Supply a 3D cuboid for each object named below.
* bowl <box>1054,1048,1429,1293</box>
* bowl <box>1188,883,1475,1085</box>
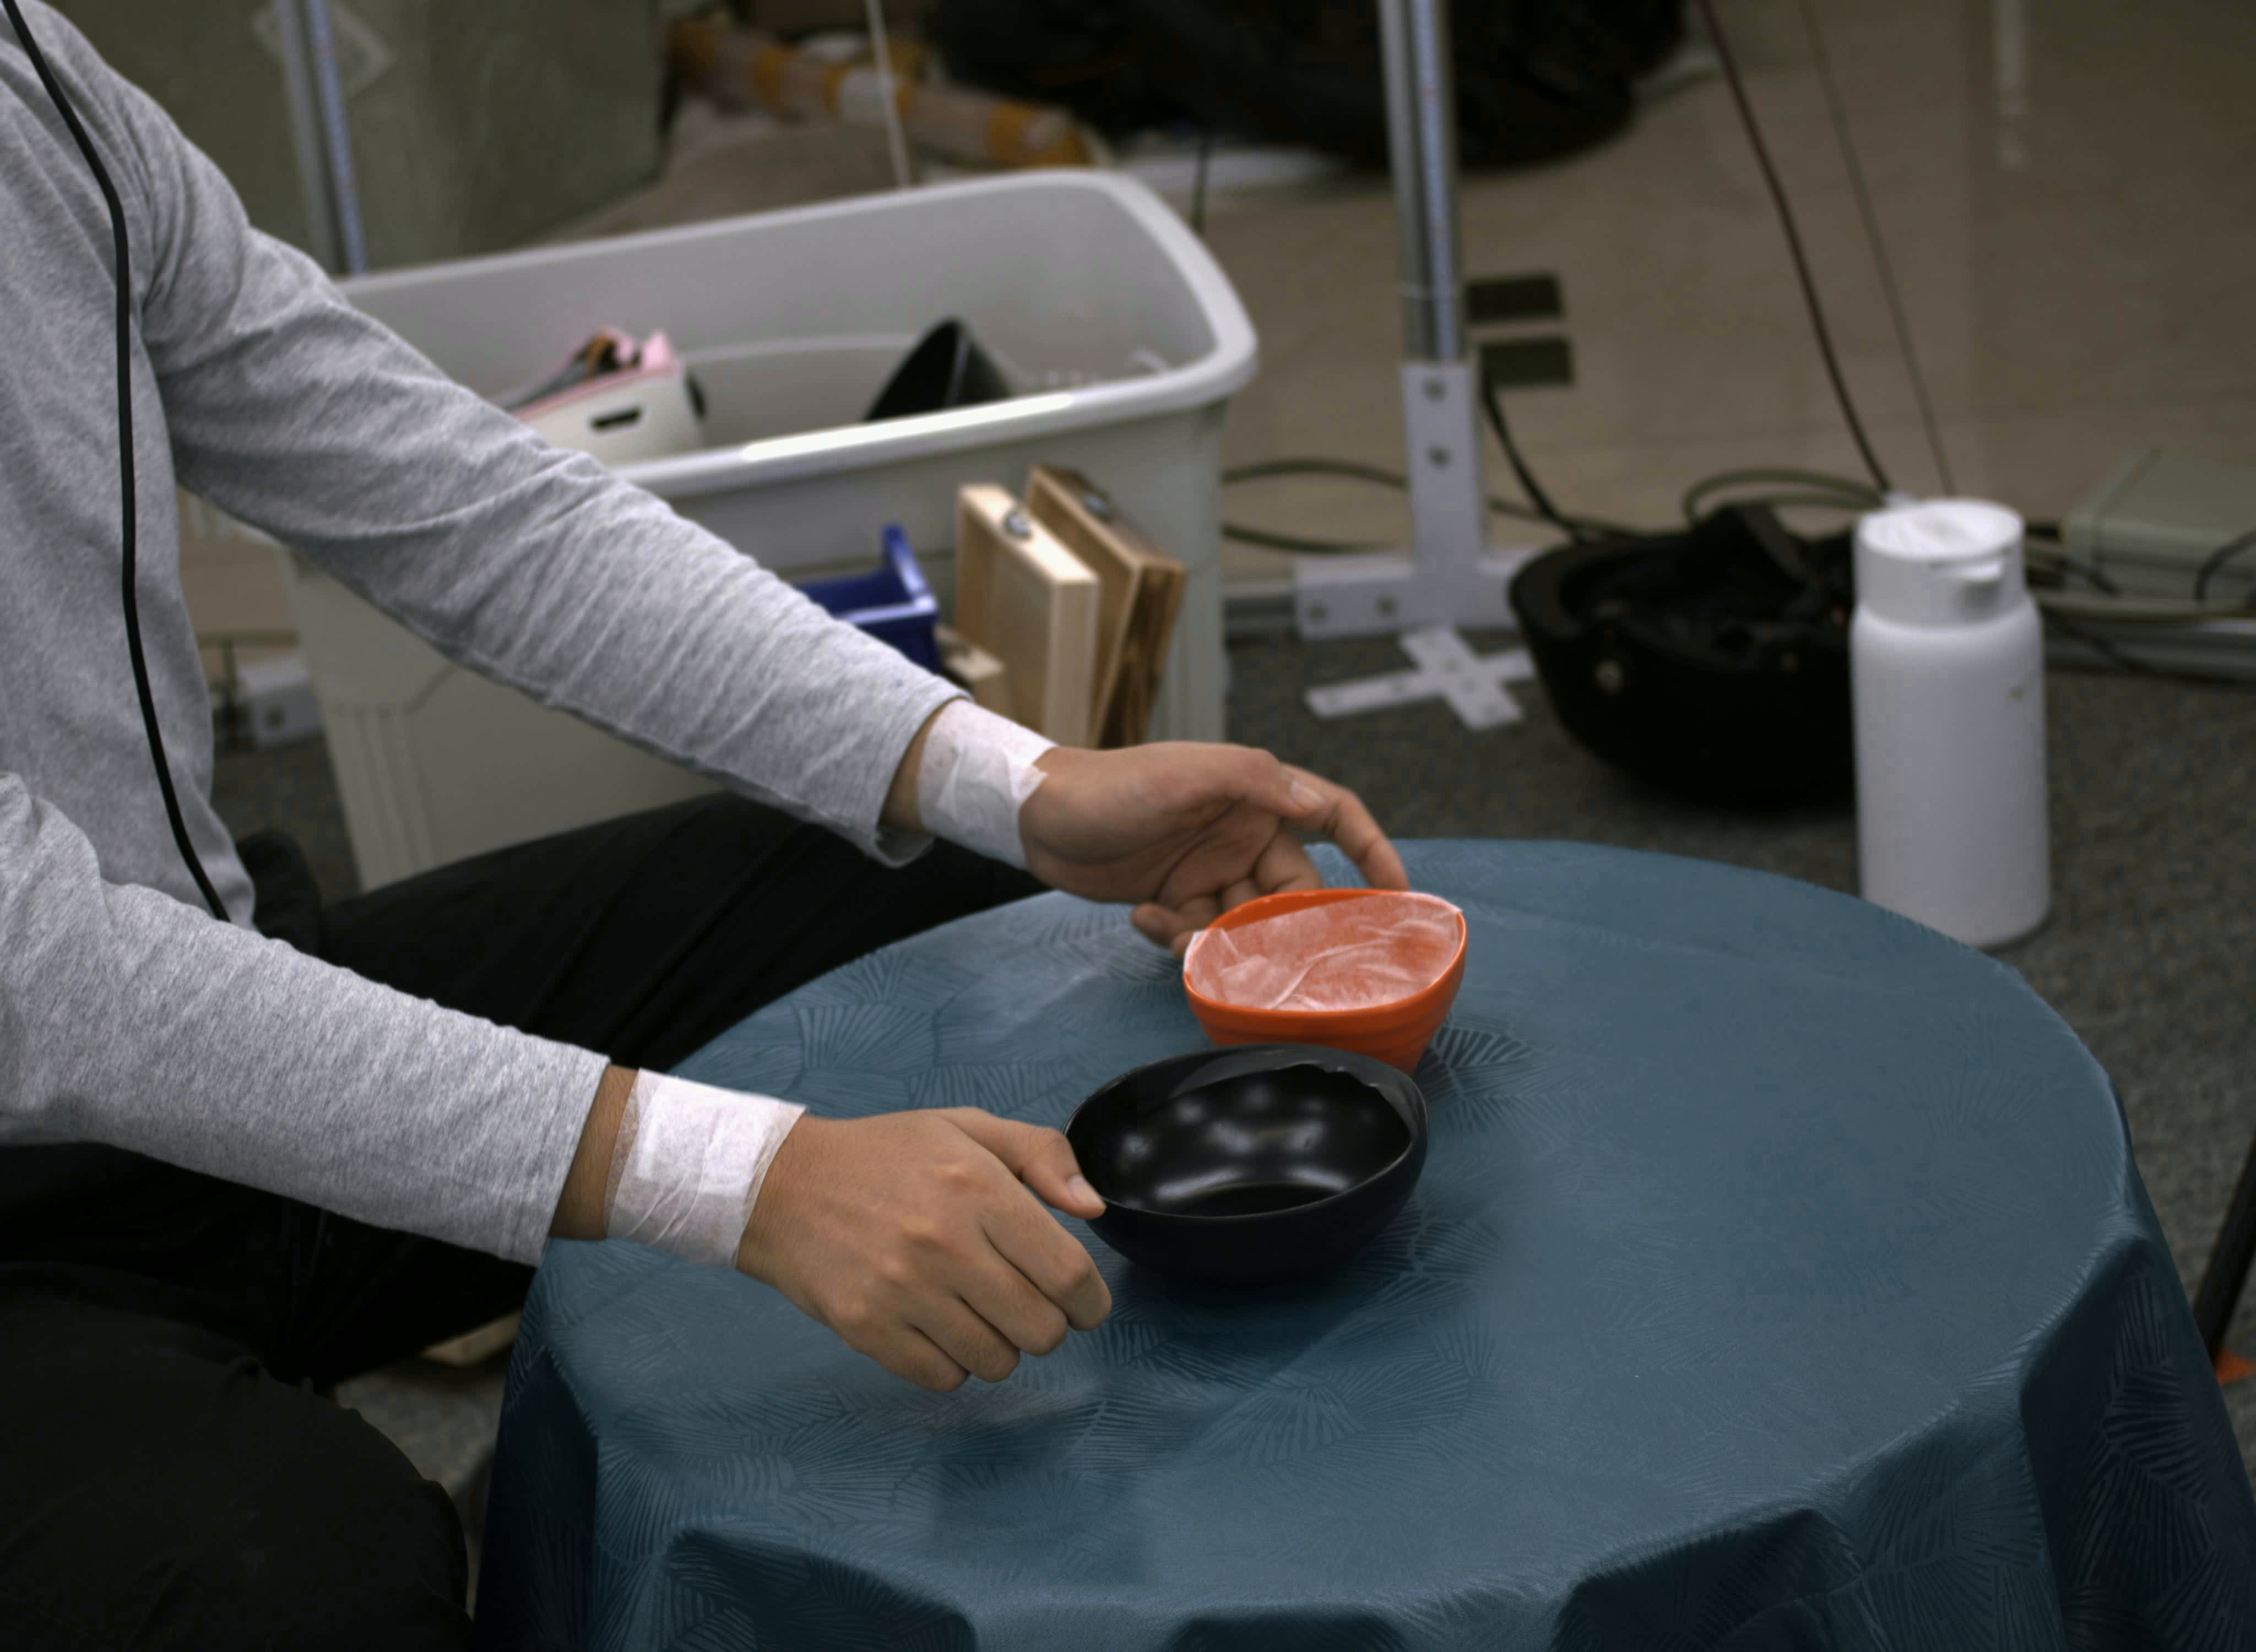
[{"bbox_3d":[0.044,0.134,2.095,0.140,0.050,0.138,-8,24,3],"label":"bowl"},{"bbox_3d":[0.082,0.069,2.221,0.119,0.052,0.117,-6,26,3],"label":"bowl"}]
